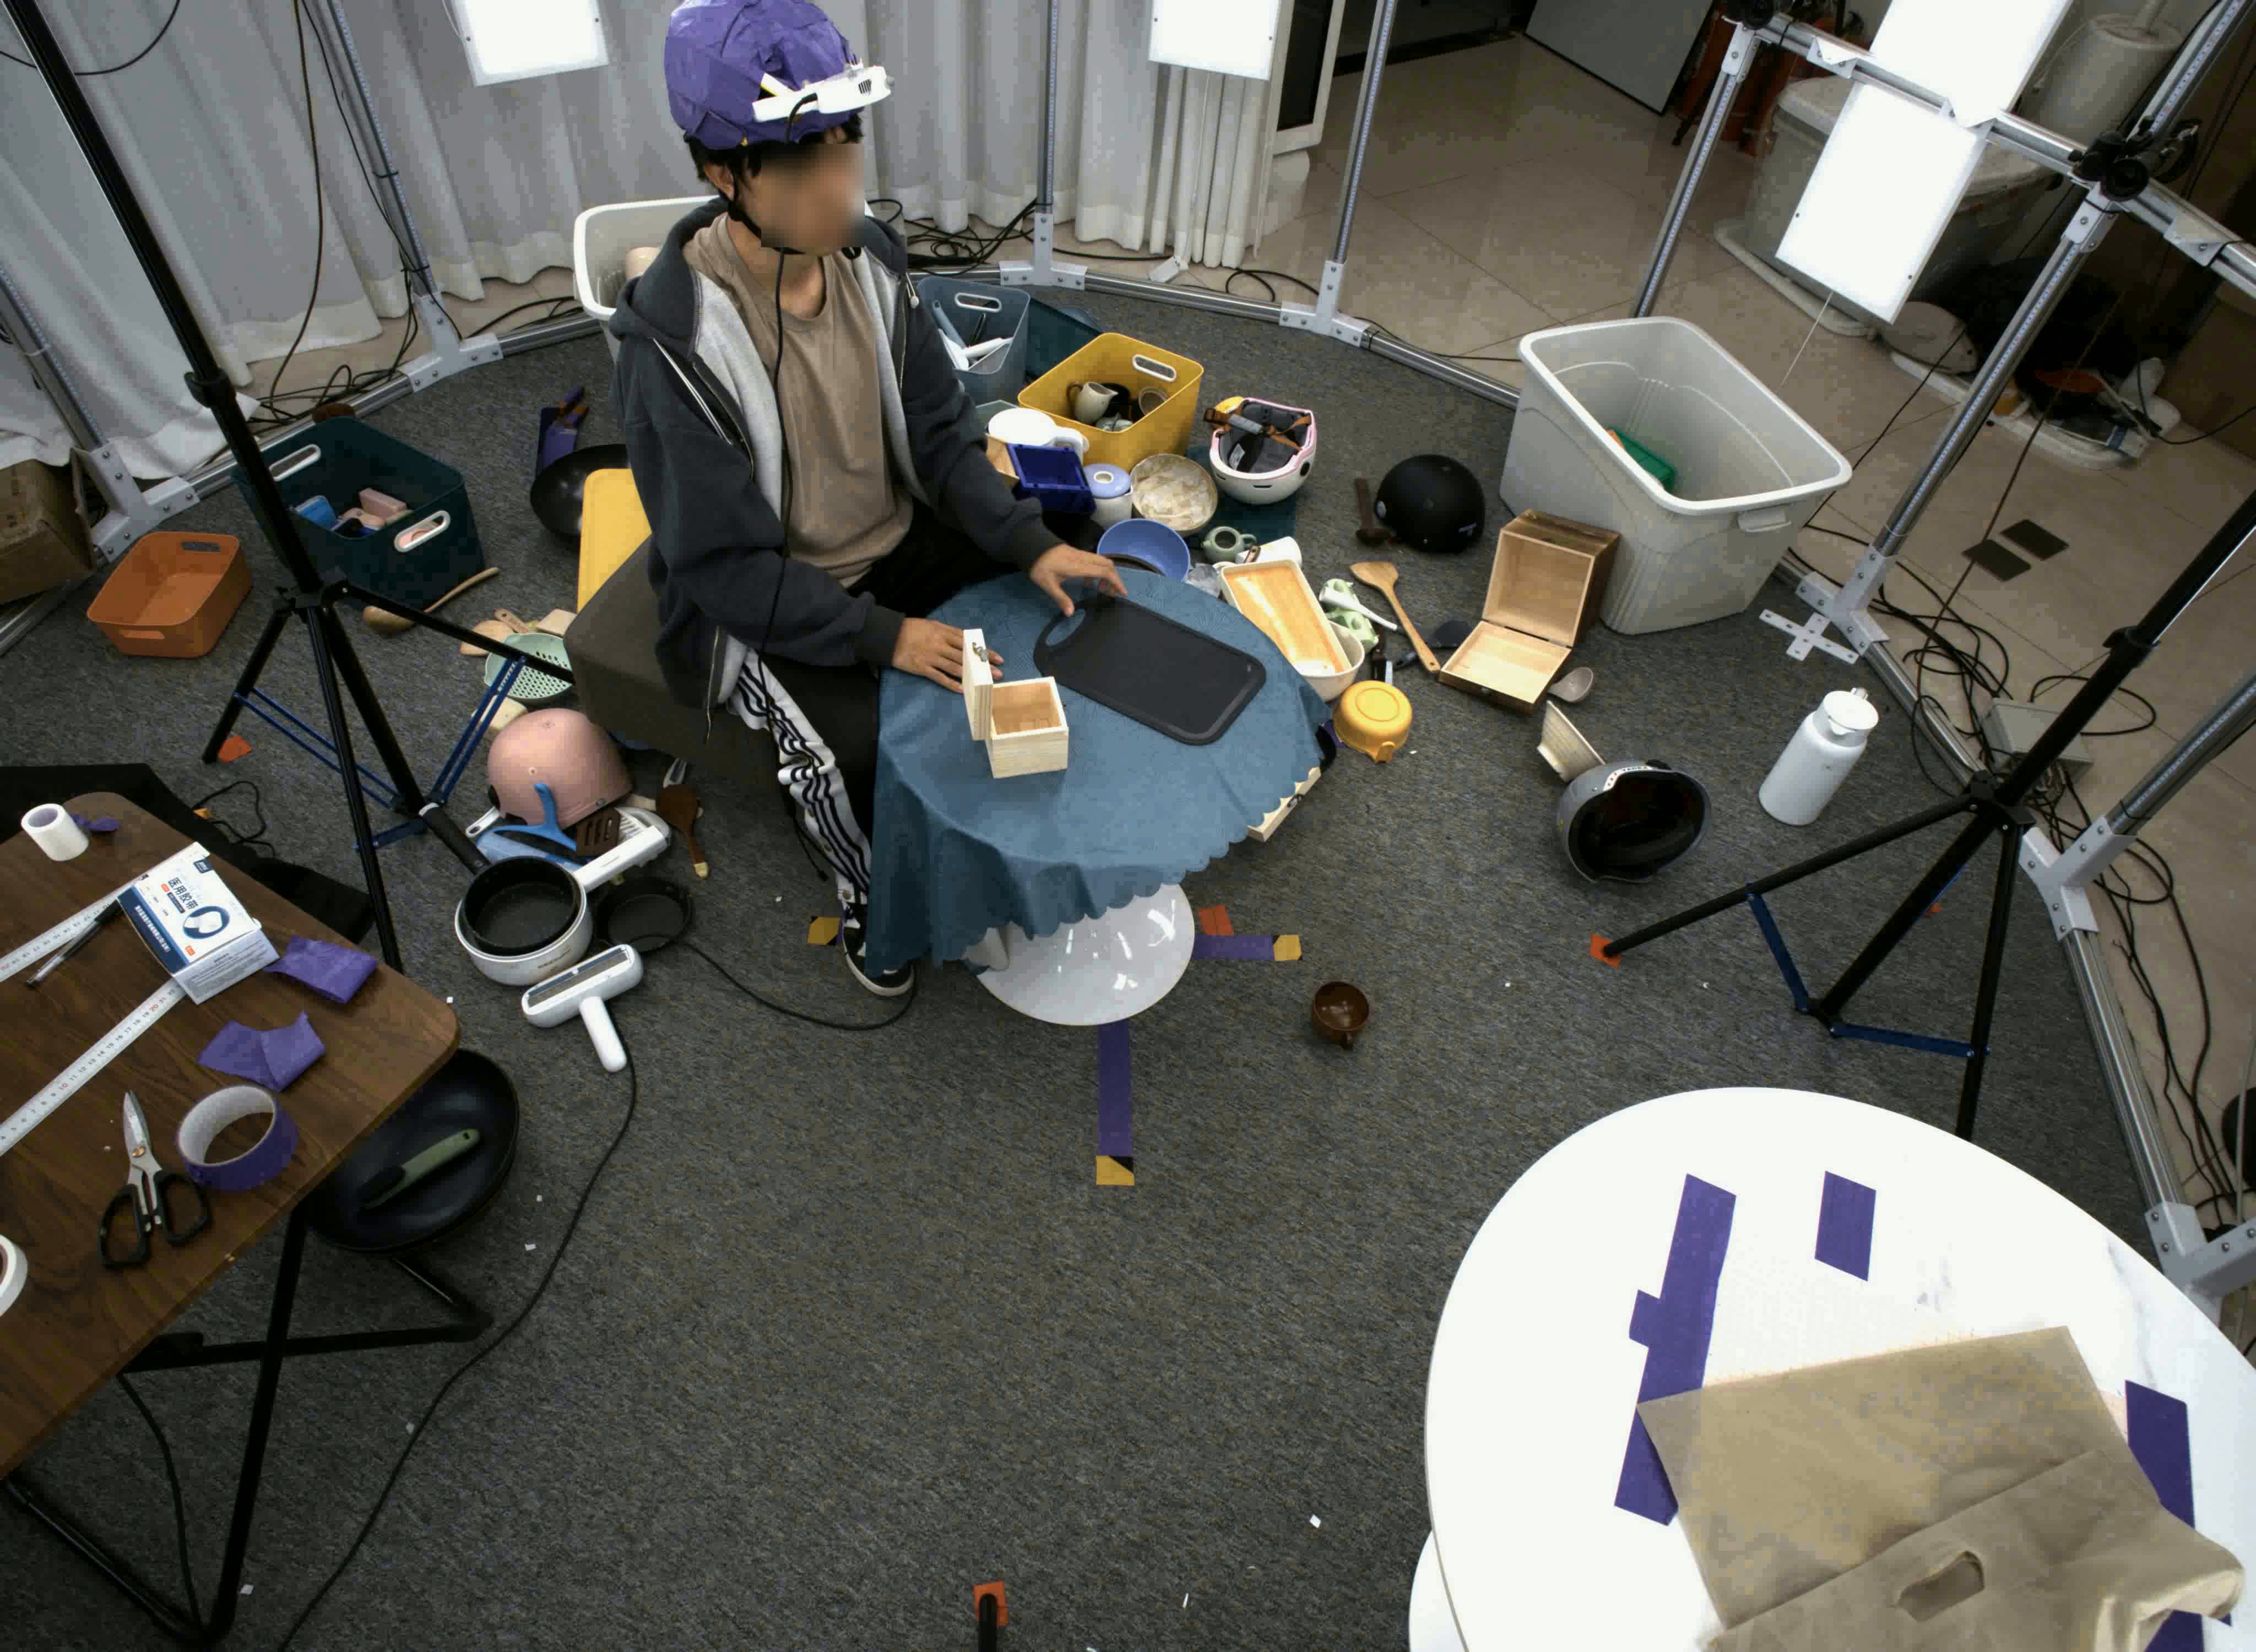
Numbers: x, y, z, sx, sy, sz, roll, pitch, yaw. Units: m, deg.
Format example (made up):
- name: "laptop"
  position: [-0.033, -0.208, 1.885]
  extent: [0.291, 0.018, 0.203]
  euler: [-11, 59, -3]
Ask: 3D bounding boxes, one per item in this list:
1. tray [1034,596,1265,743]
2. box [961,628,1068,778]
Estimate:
- name: "tray"
  position: [0.025, -0.238, 1.870]
  extent: [0.328, 0.009, 0.214]
  euler: [28, 52, 19]
- name: "box"
  position: [-0.146, -0.164, 1.680]
  extent: [0.134, 0.180, 0.105]
  euler: [-9, 51, -10]
